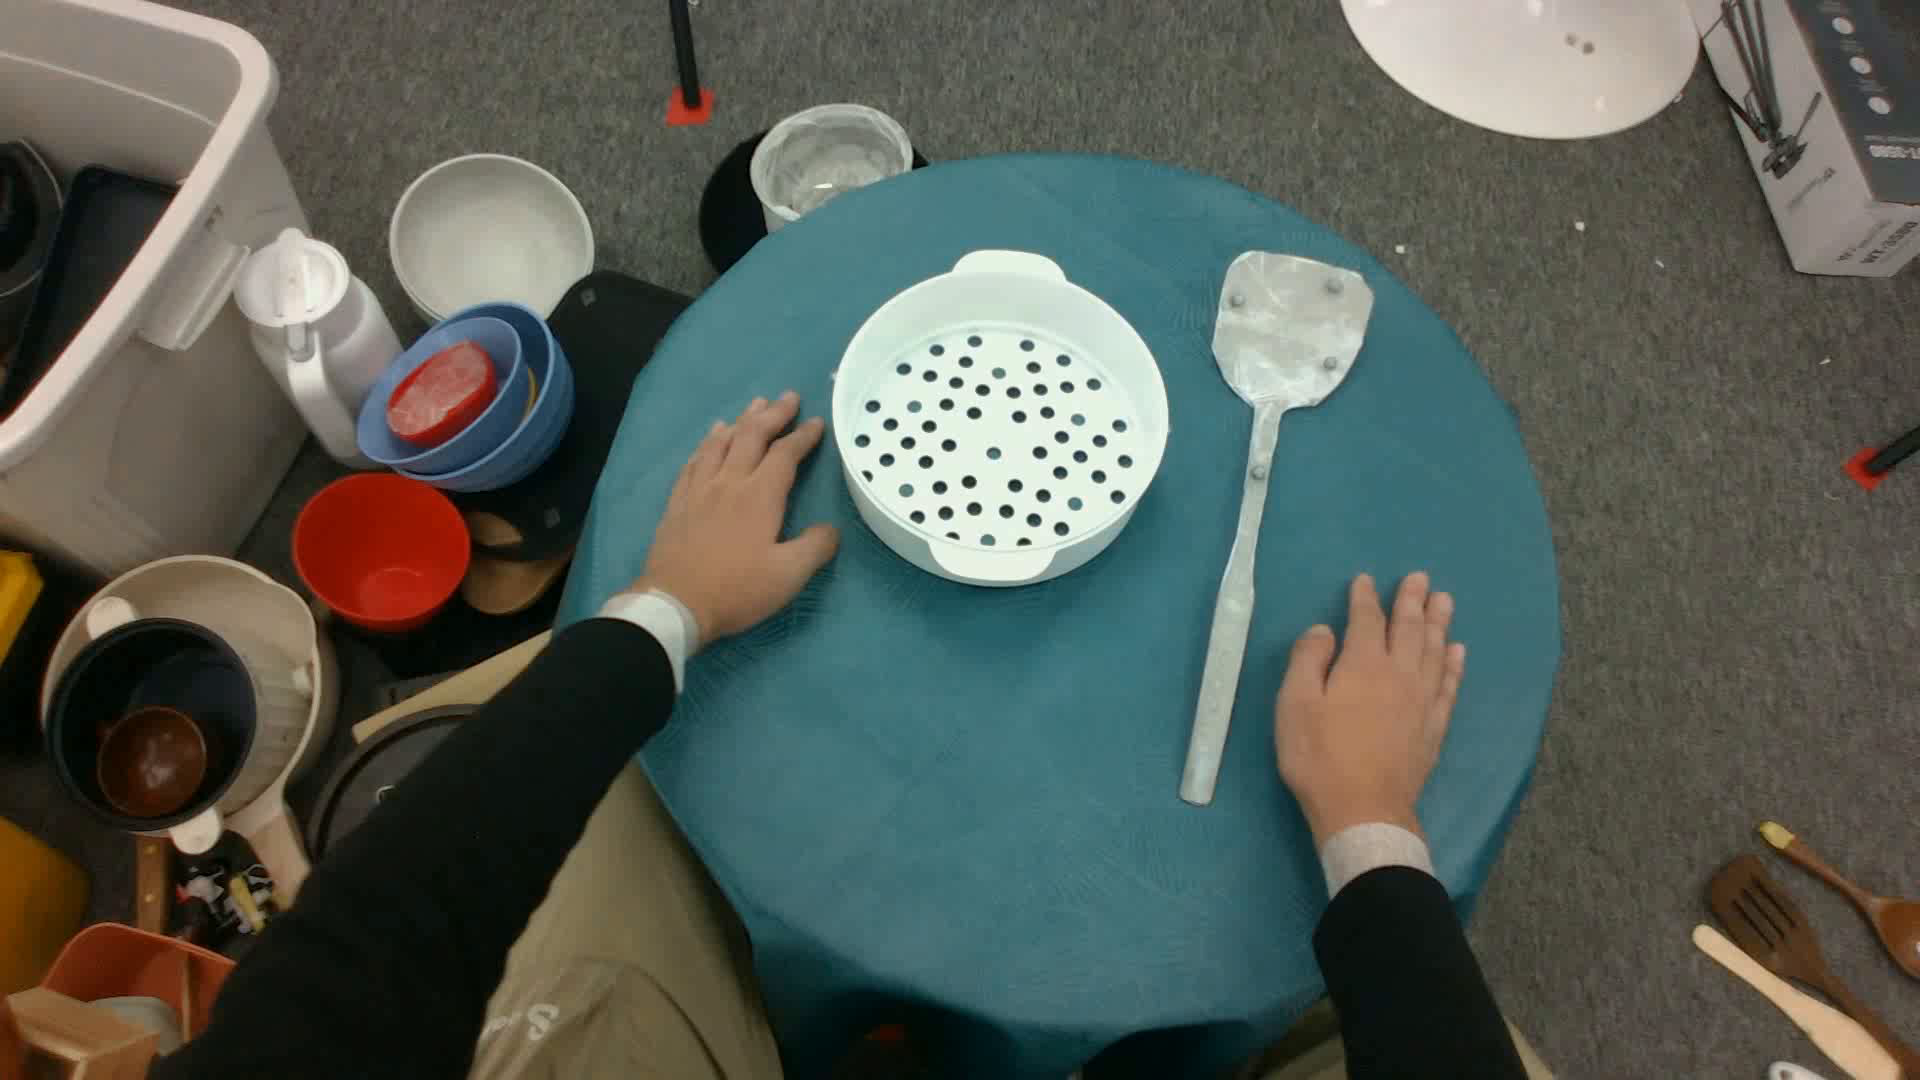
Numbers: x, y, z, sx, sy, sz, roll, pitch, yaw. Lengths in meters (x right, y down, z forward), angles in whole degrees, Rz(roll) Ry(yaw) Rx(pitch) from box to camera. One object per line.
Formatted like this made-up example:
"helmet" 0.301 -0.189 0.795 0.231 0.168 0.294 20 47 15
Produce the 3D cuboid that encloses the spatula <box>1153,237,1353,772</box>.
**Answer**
"spatula" 0.170 -0.030 0.852 0.099 0.044 0.366 16 64 1

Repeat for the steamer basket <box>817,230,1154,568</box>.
"steamer basket" 0.014 -0.080 0.846 0.202 0.069 0.231 5 65 -1
